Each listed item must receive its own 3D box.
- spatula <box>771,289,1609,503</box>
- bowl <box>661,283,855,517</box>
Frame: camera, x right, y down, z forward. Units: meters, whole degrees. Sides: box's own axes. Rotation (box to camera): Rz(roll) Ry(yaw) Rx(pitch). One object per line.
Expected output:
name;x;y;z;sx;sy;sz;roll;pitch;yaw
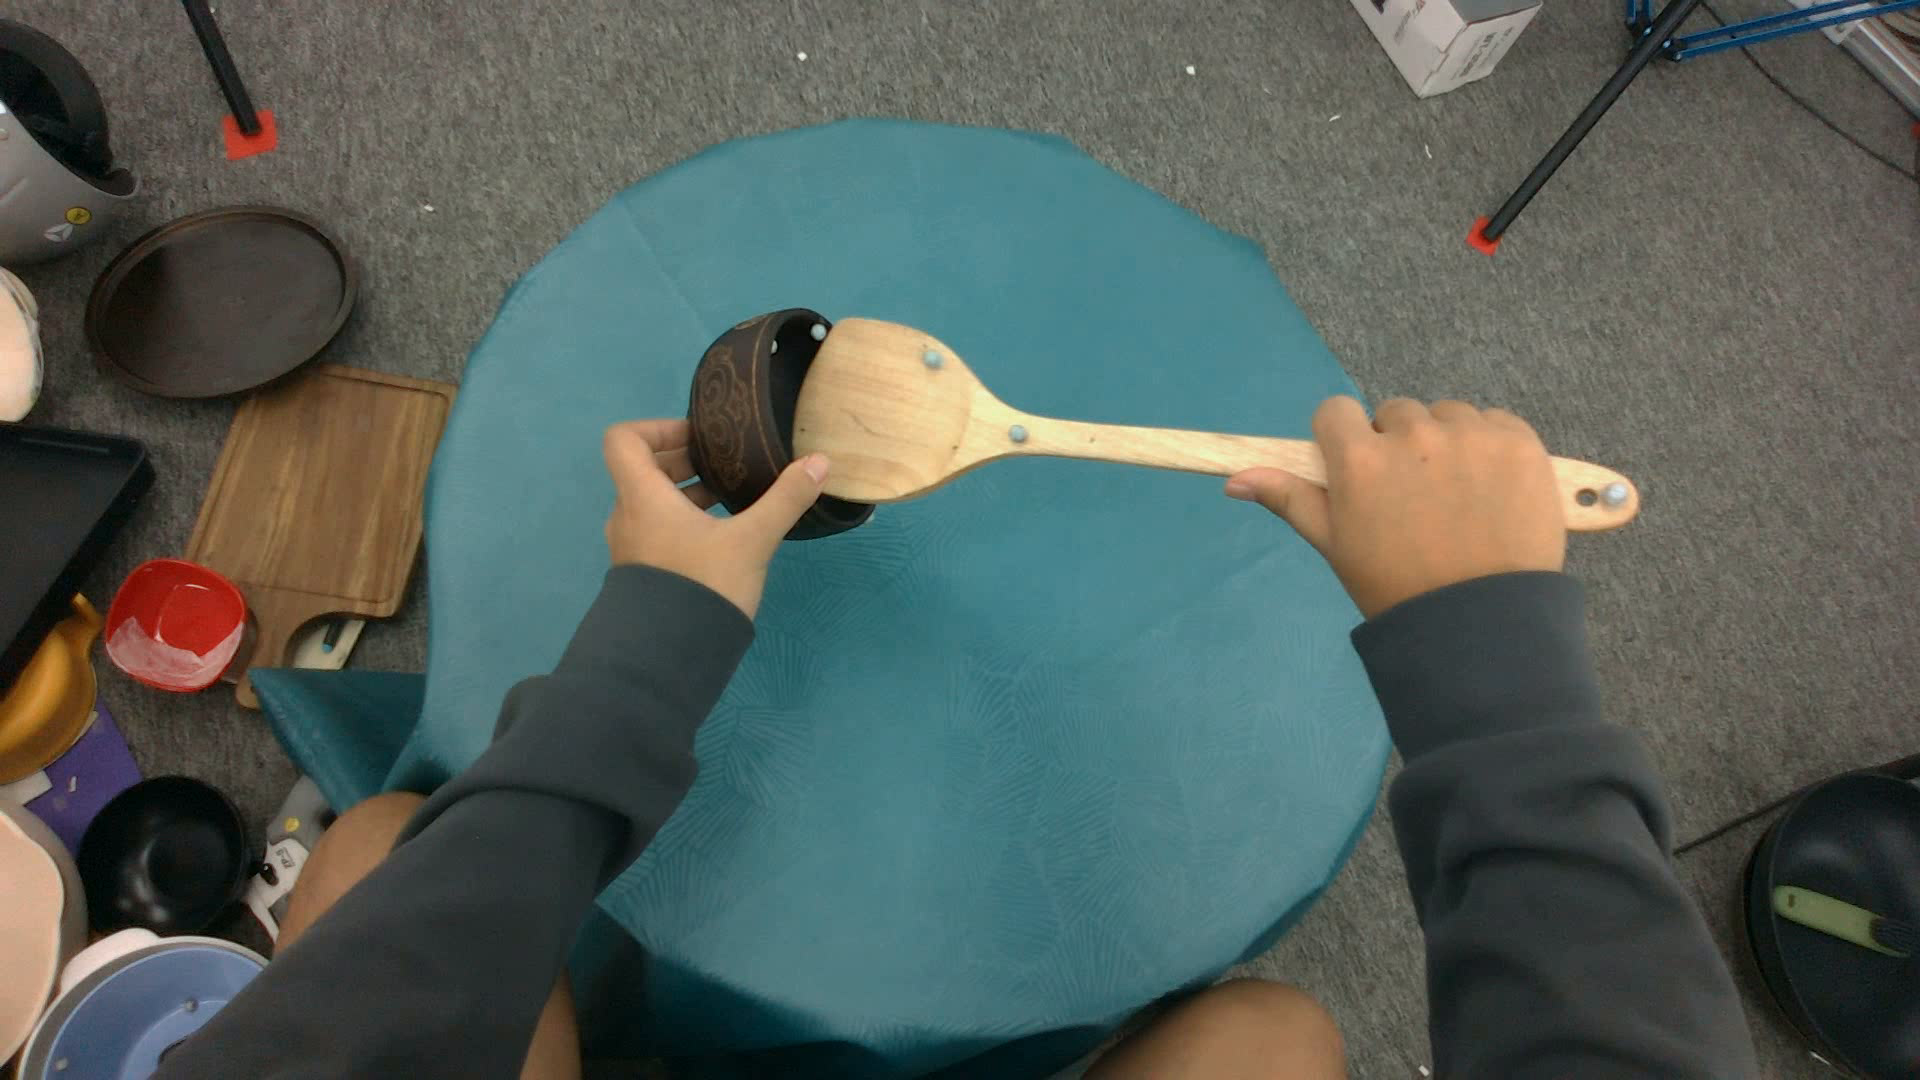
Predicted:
spatula;0.084;-0.058;0.629;0.390;0.018;0.096;8;83;25
bowl;-0.109;-0.070;0.707;0.069;0.118;0.118;-4;62;25
